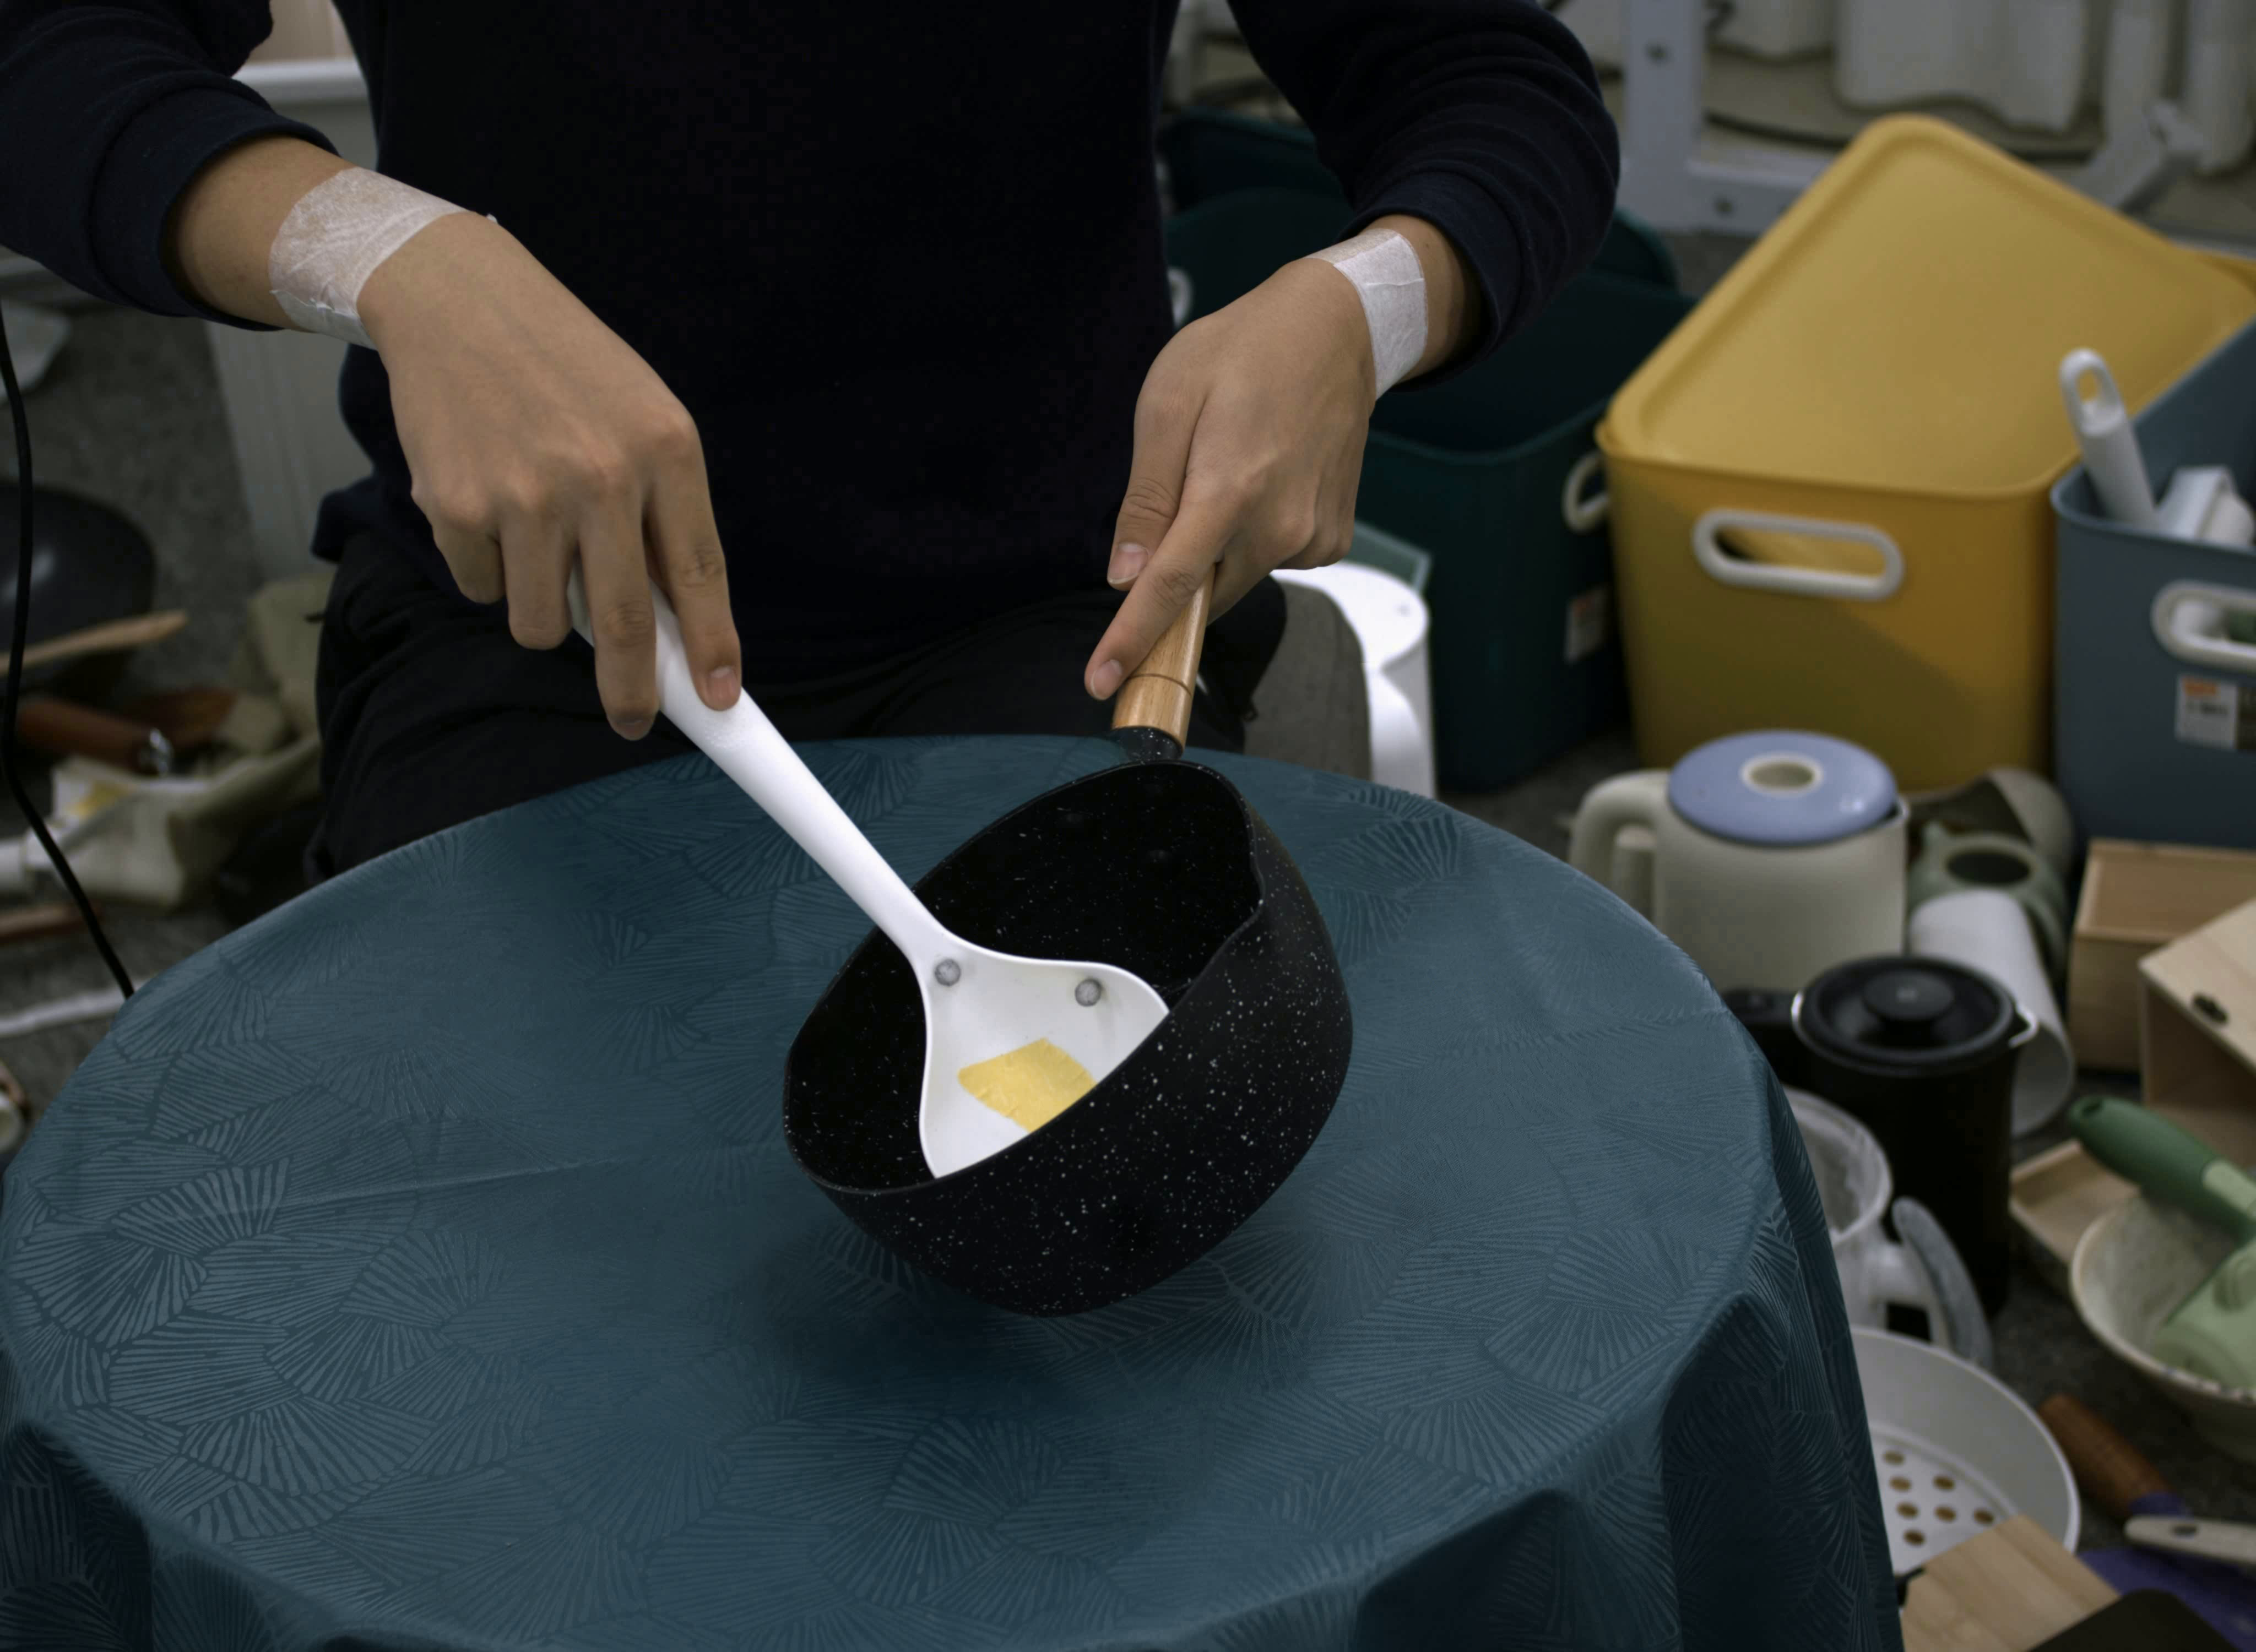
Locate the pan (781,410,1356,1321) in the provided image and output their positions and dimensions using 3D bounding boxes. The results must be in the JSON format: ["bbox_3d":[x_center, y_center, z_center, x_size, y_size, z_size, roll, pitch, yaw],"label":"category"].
[{"bbox_3d":[0.002,0.011,1.848,0.204,0.107,0.350,-20,34,35],"label":"pan"}]

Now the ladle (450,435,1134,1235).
[{"bbox_3d":[-0.108,-0.001,1.747,0.089,0.293,0.070,-41,0,8],"label":"ladle"}]
